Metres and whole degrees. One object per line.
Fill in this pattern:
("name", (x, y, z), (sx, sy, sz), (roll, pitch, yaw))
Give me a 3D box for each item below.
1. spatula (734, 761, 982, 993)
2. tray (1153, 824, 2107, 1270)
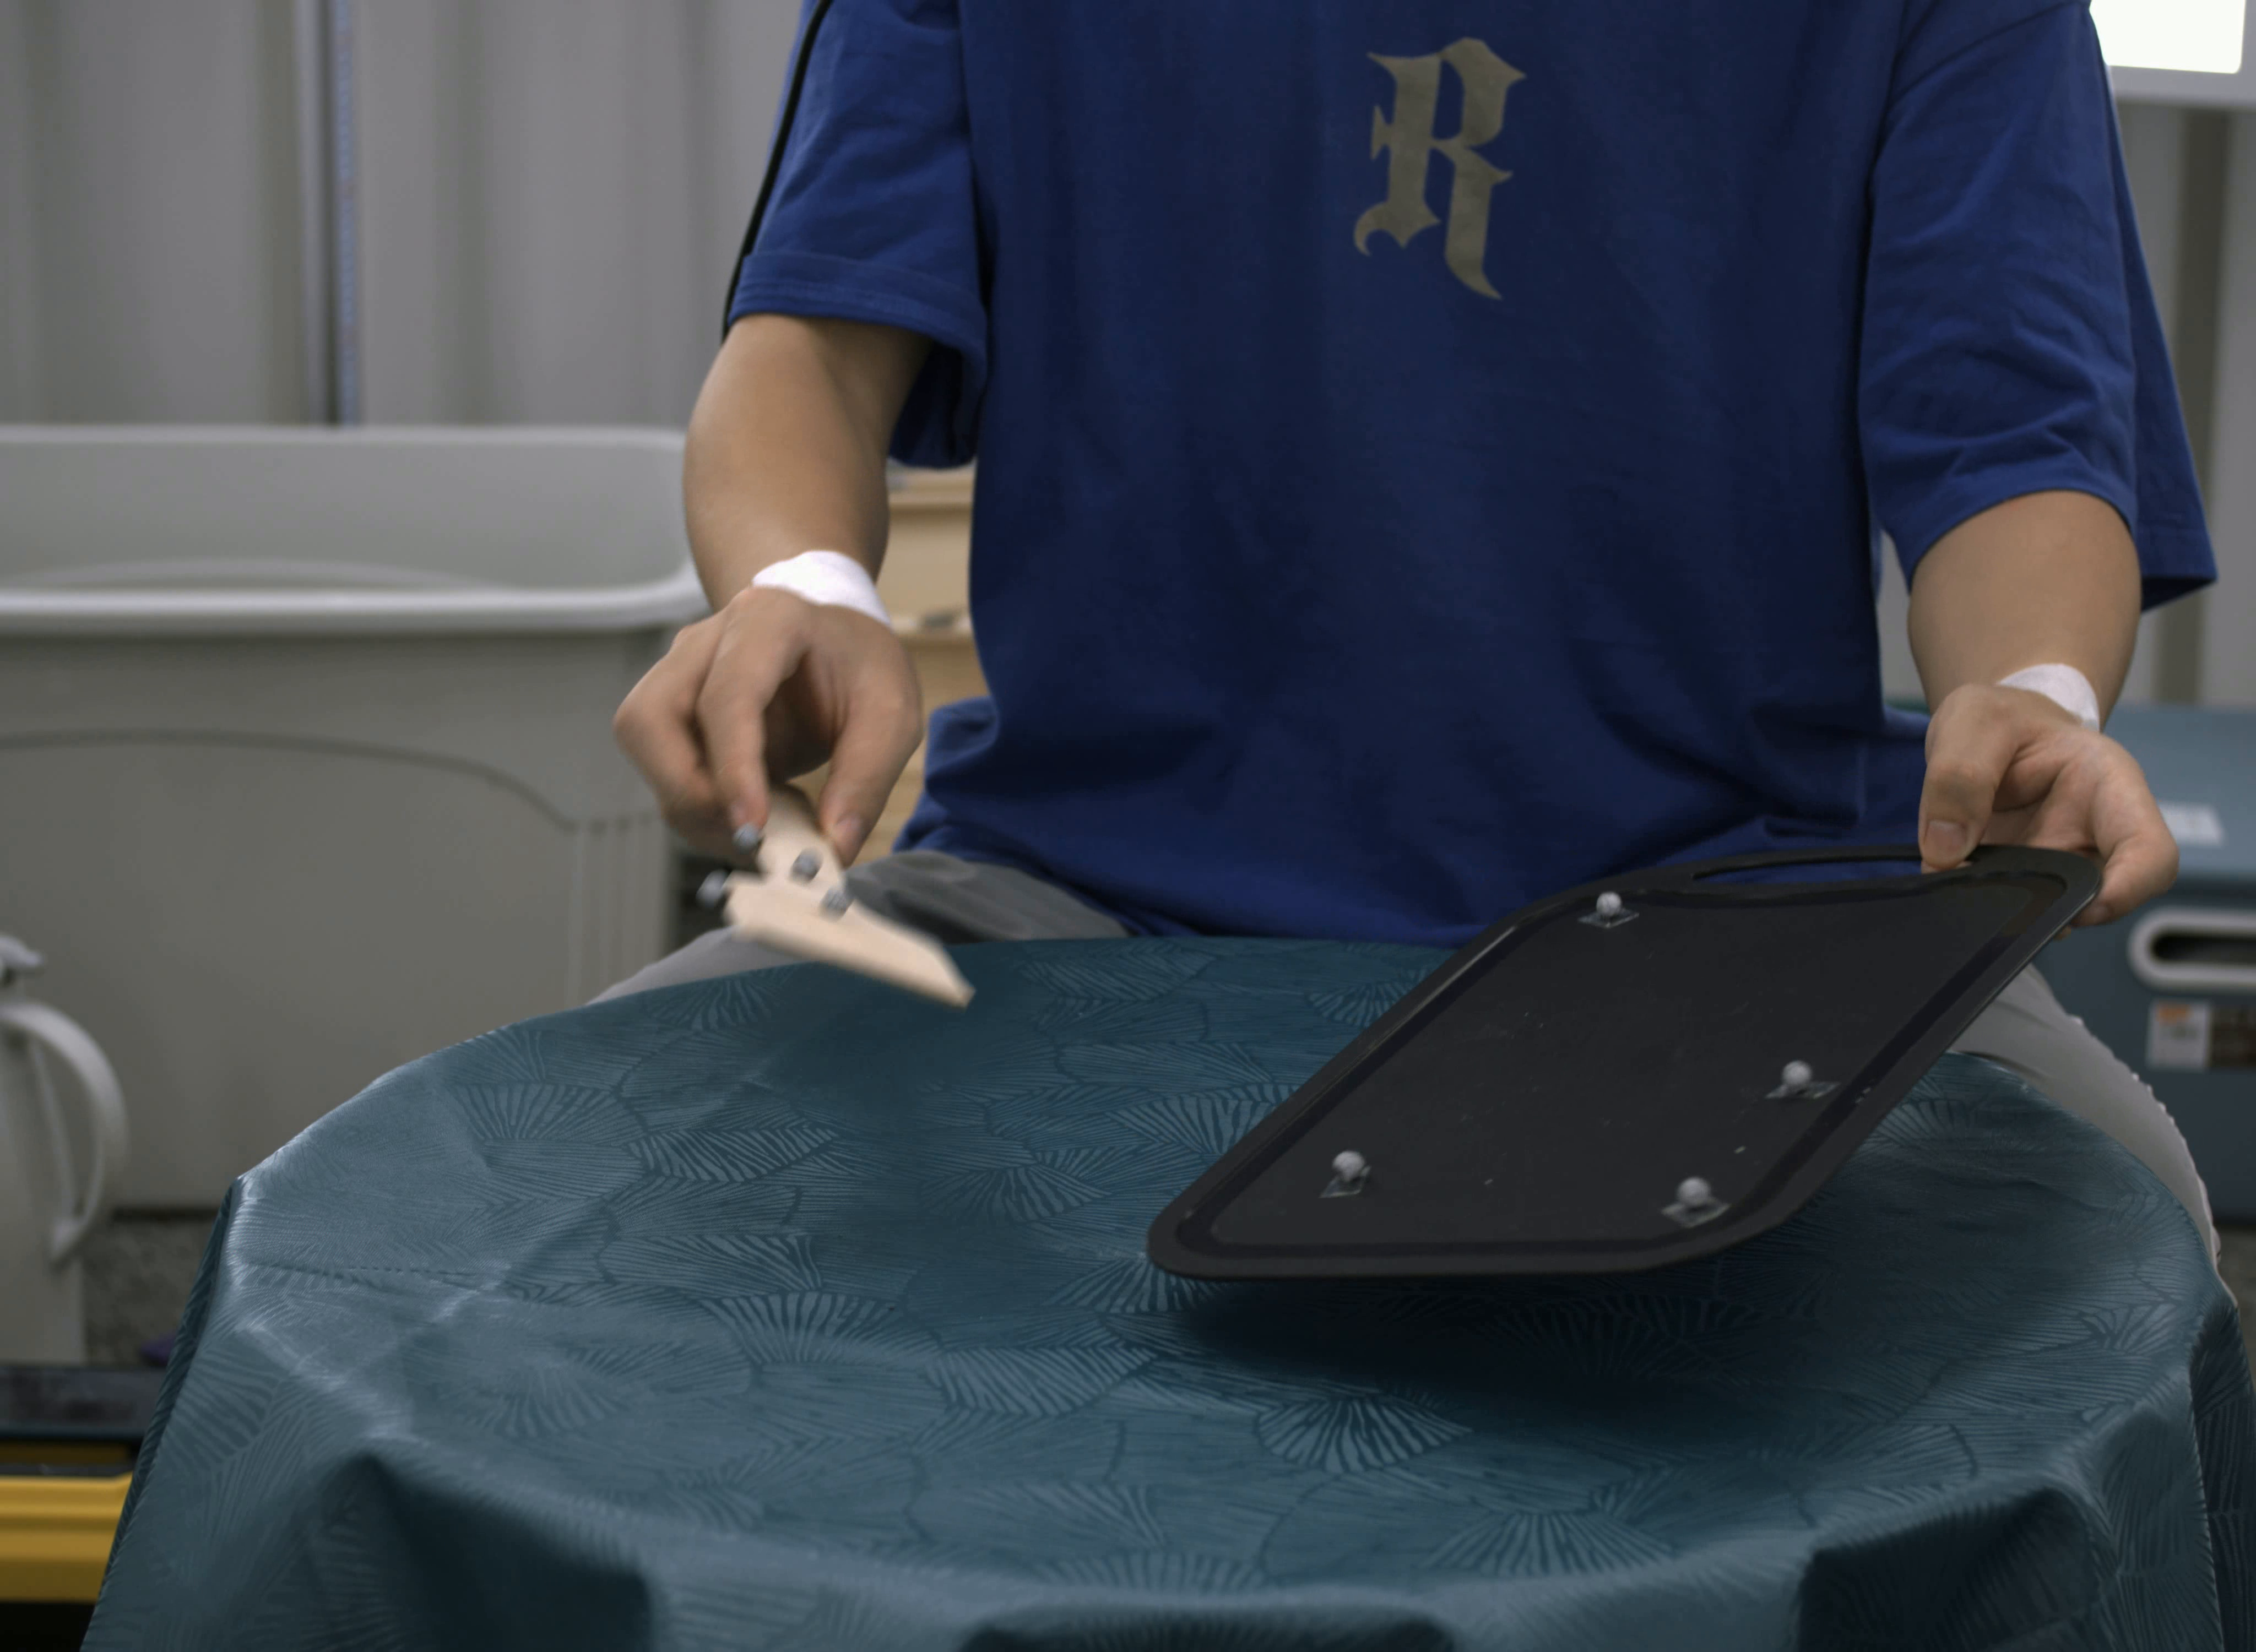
("spatula", (-0.099, 0.010, 1.658), (0.072, 0.011, 0.291), (19, 7, -13))
("tray", (0.156, 0.059, 1.567), (0.209, 0.010, 0.326), (-4, 20, 34))
